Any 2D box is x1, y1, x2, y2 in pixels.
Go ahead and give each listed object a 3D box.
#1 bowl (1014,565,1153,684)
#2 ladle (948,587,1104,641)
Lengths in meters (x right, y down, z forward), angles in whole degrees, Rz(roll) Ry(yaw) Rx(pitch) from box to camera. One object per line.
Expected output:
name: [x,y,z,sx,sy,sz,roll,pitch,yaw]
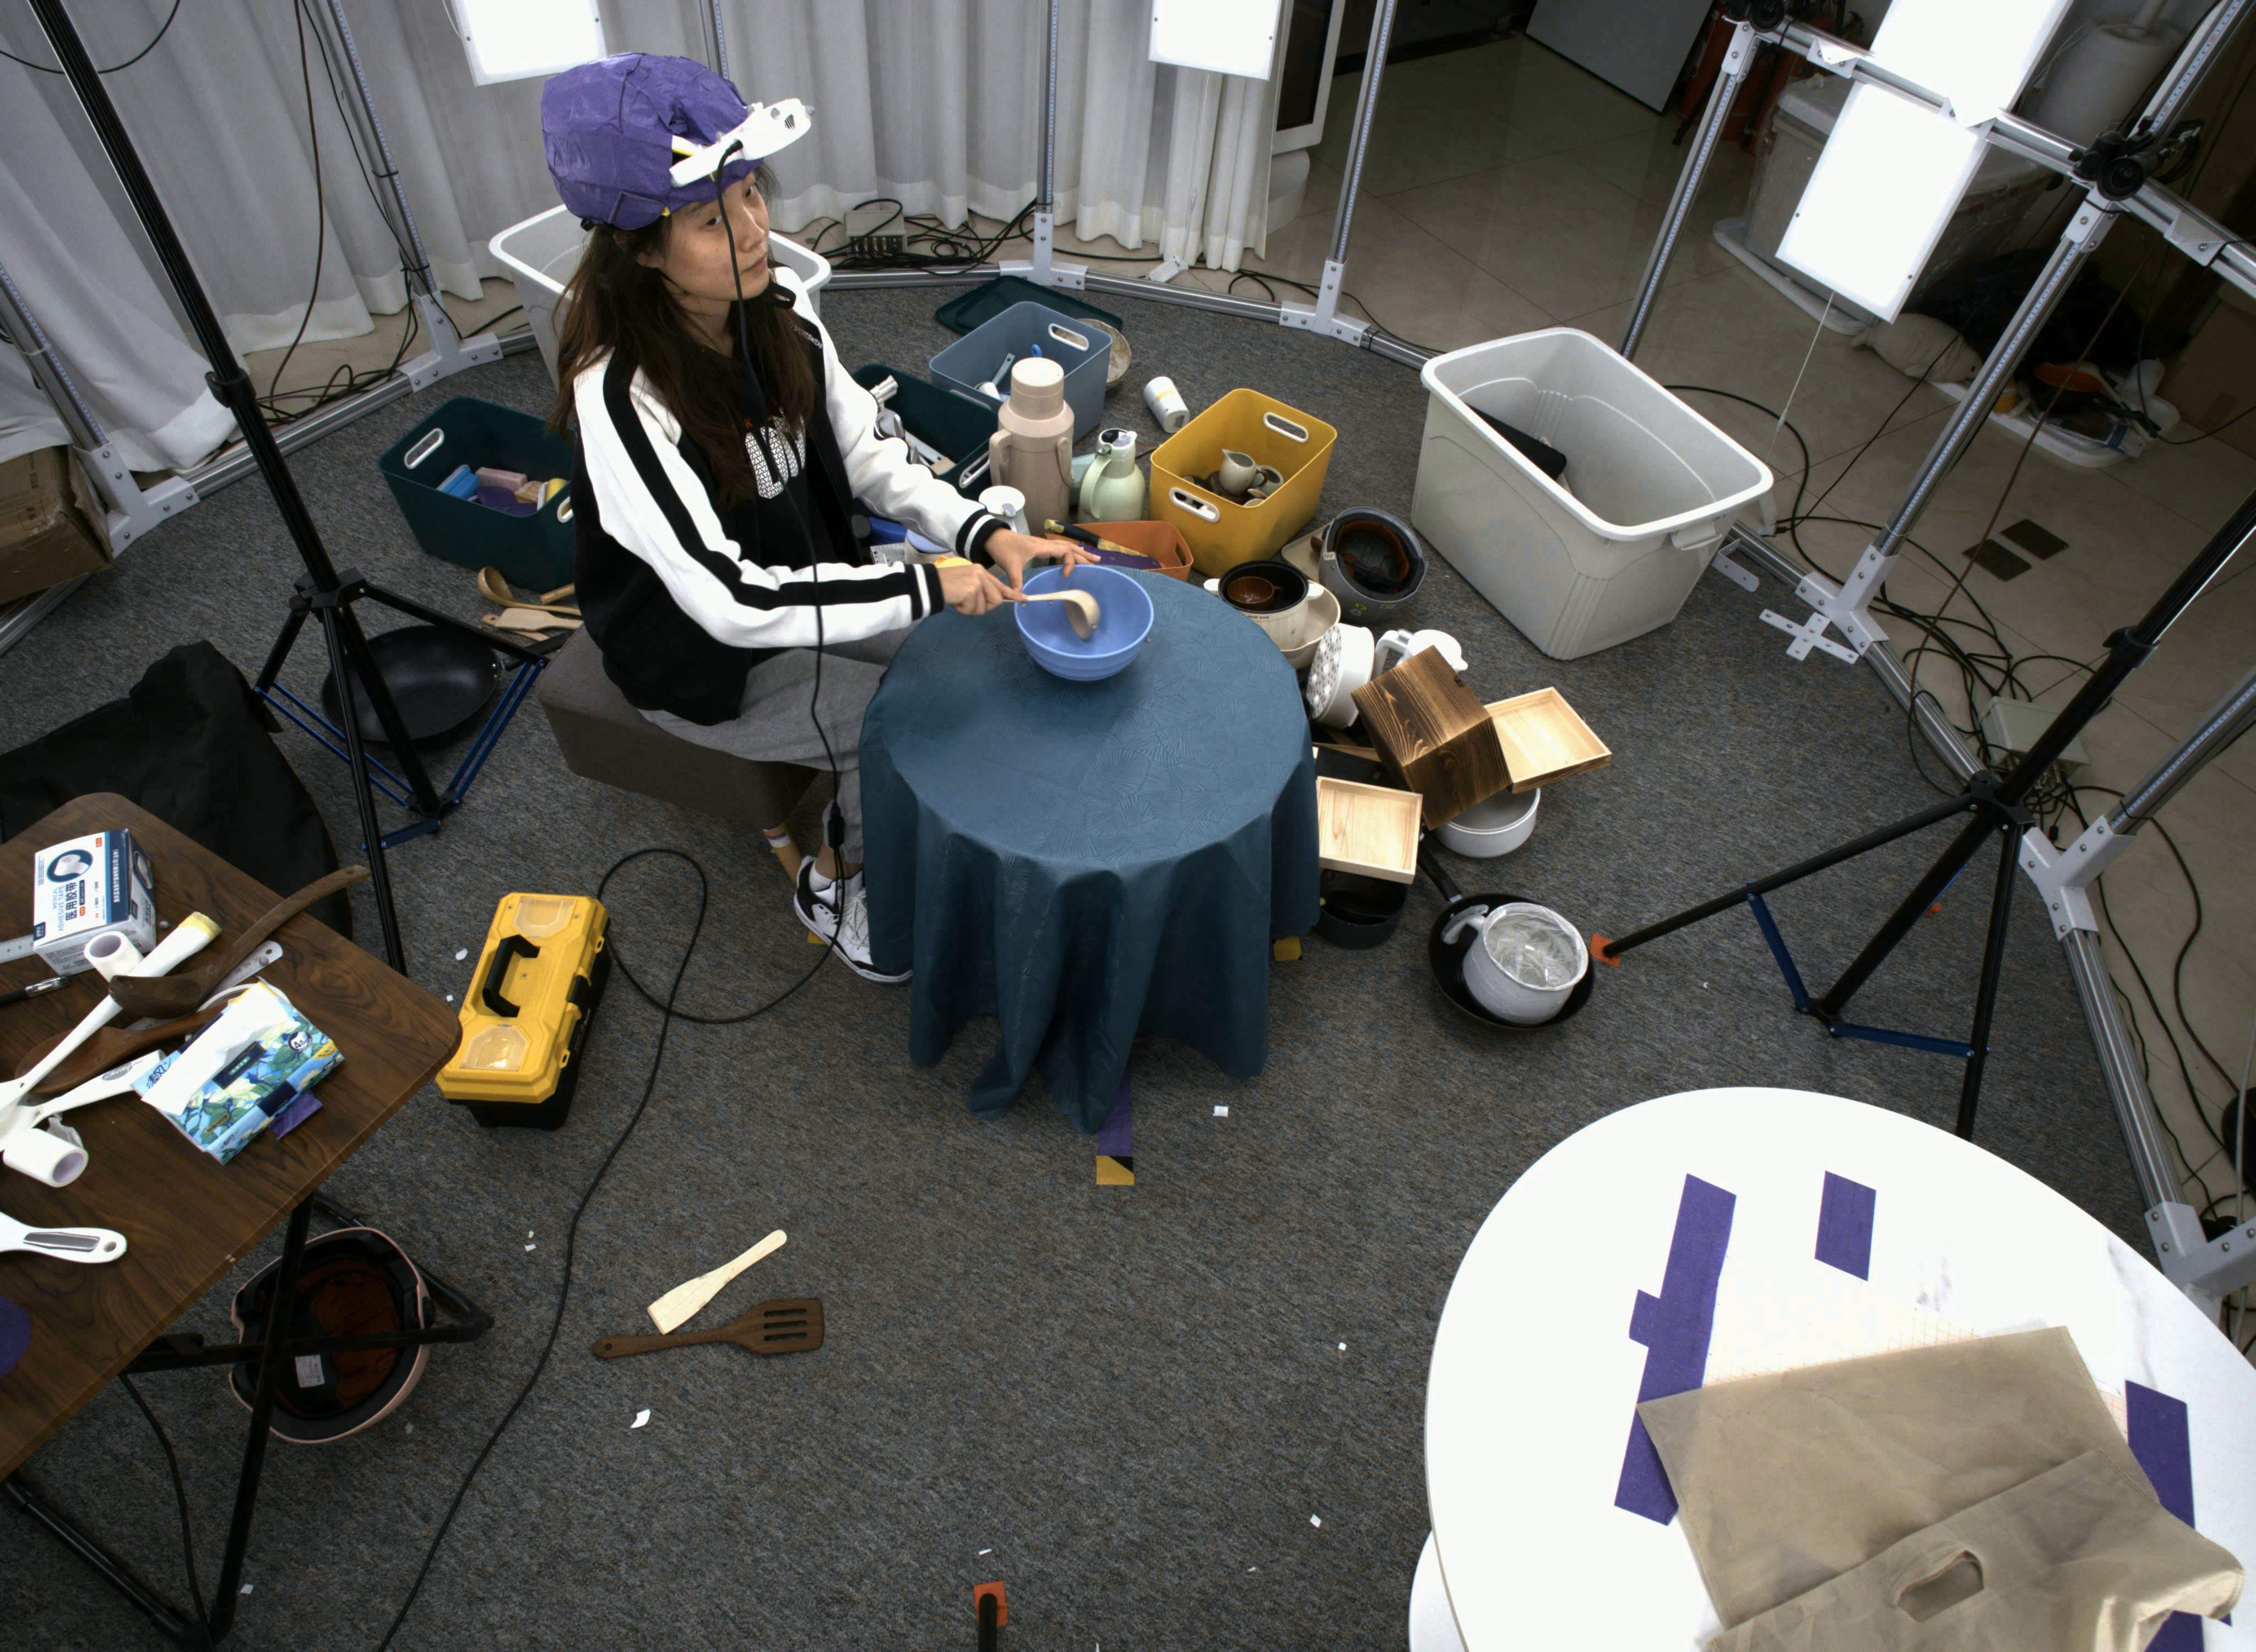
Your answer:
bowl: [-0.064,-0.274,1.846,0.196,0.093,0.201,1,51,-2]
ladle: [-0.147,-0.298,1.810,0.254,0.071,0.074,-5,43,-35]
